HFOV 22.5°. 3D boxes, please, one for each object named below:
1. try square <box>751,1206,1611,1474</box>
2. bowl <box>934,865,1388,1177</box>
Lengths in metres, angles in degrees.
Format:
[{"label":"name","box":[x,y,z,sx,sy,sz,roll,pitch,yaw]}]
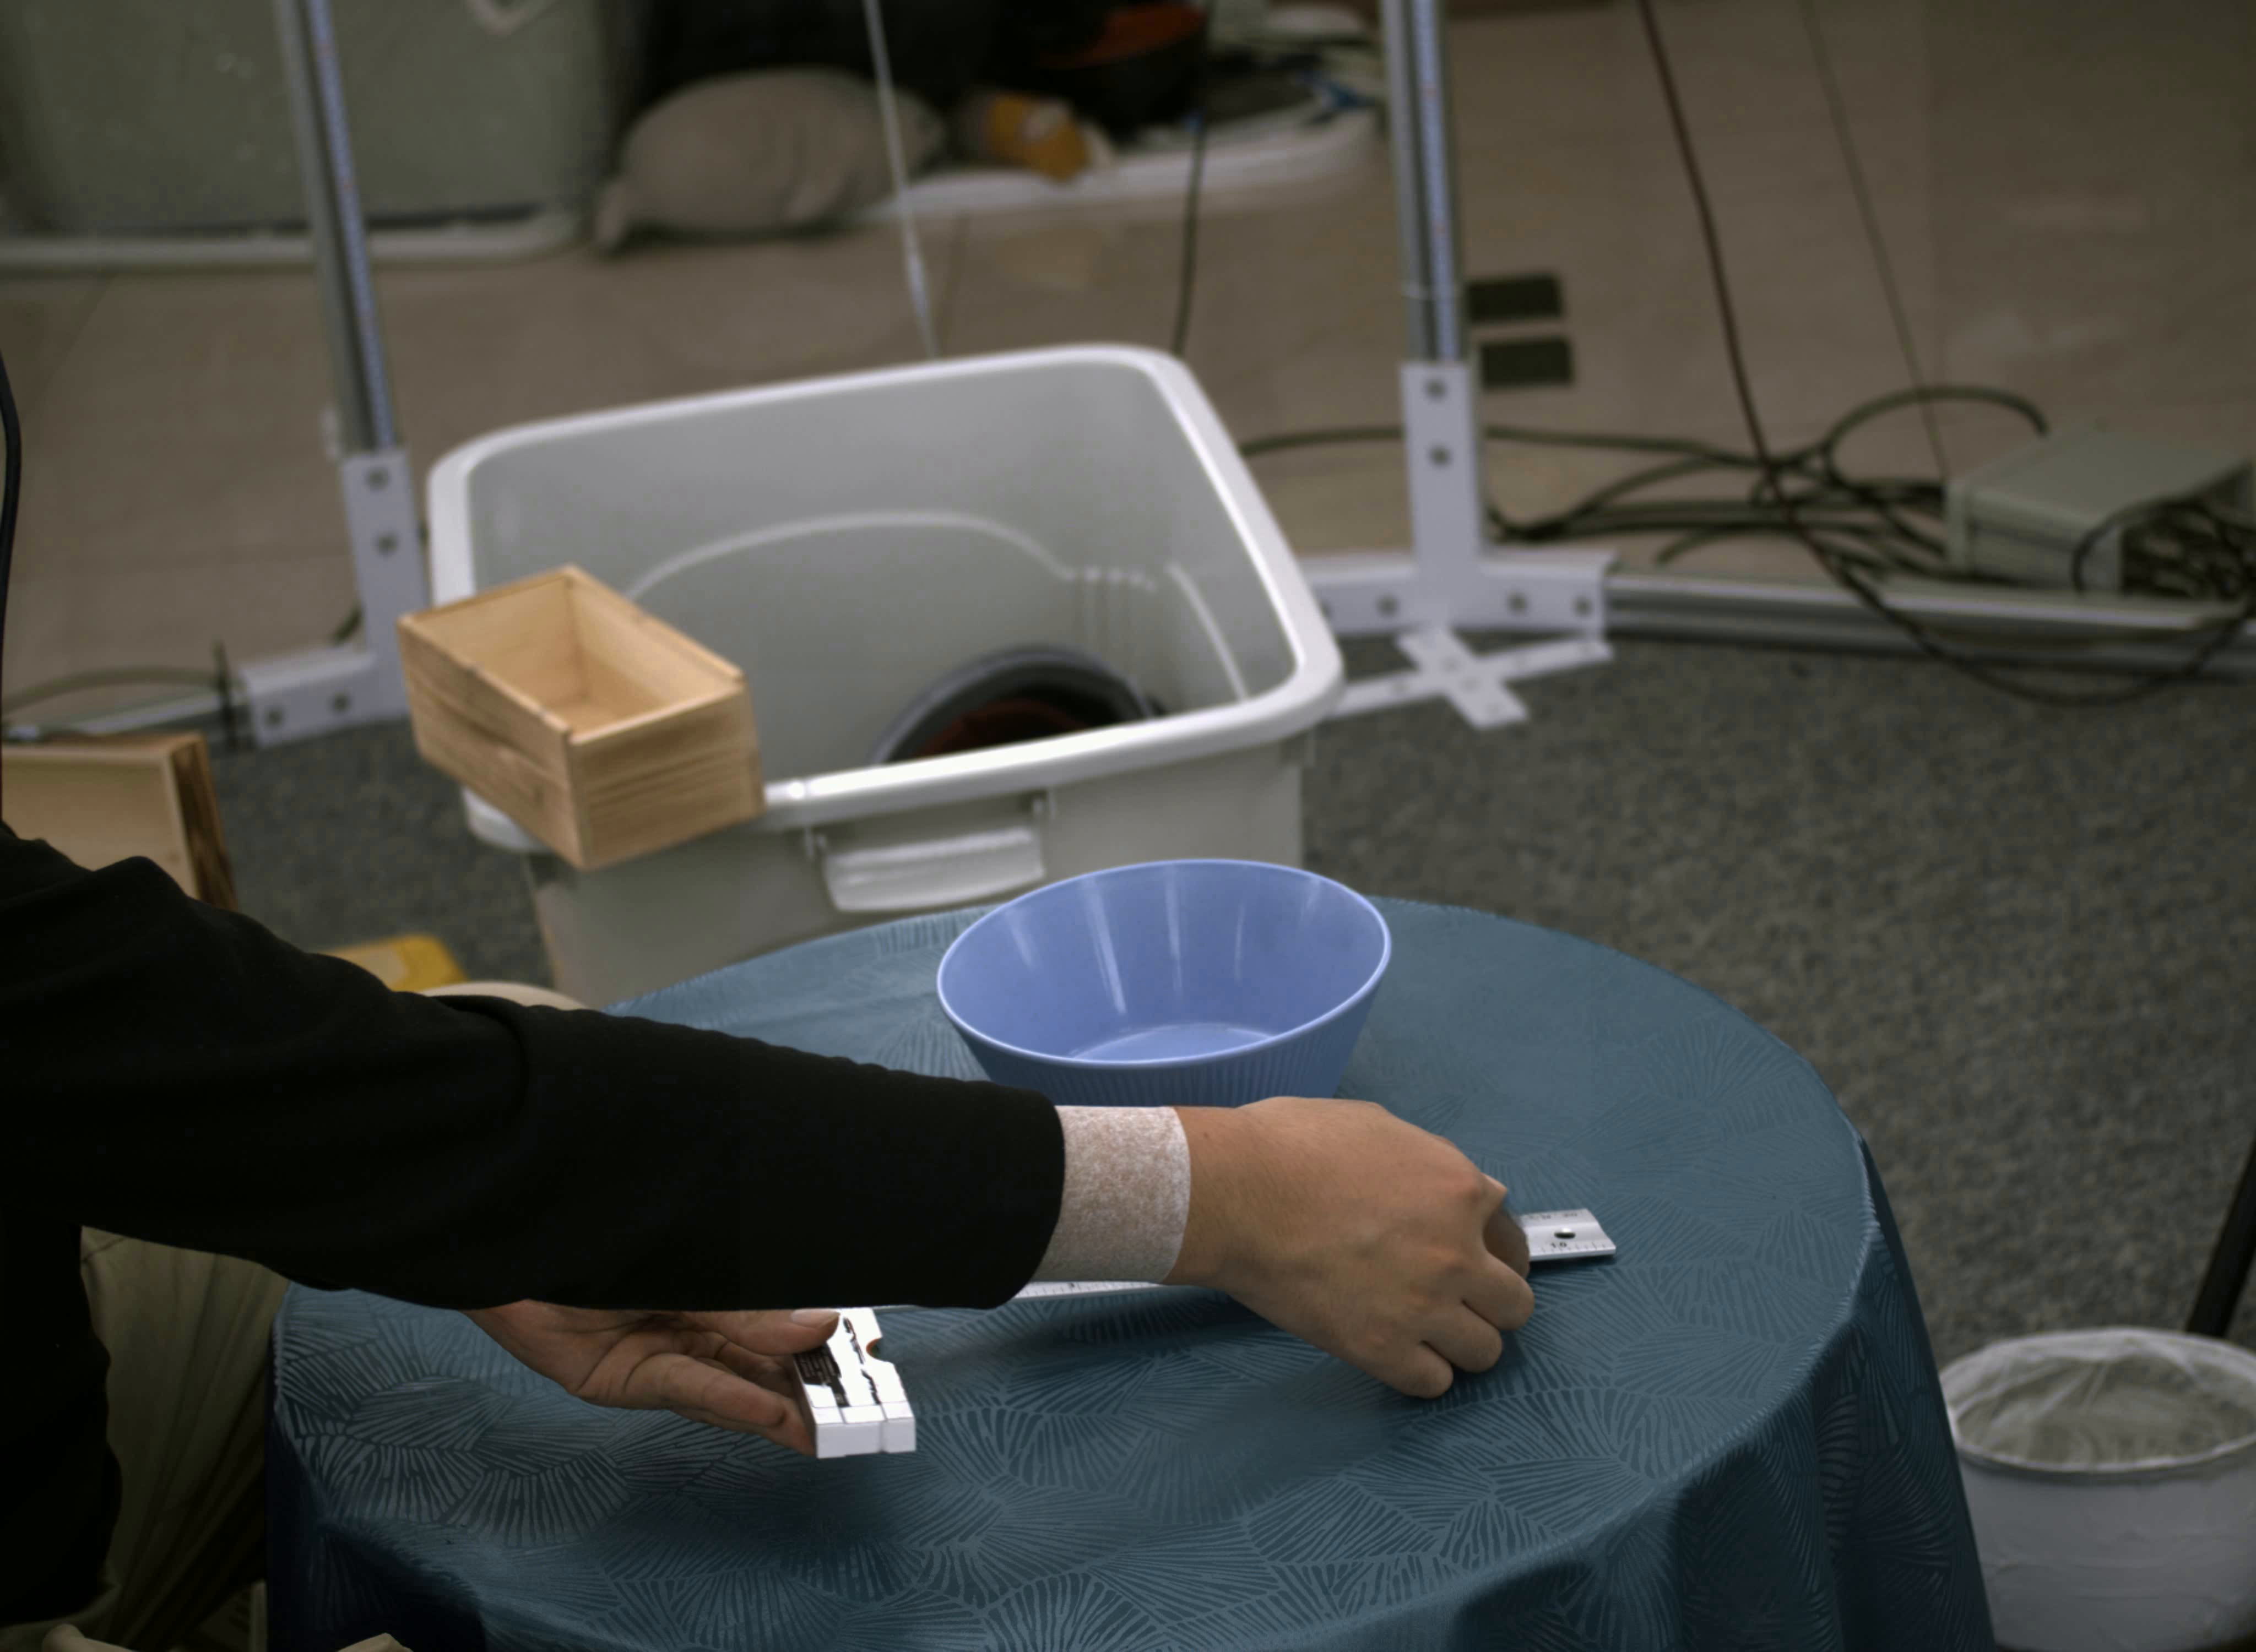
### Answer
[{"label":"try square","box":[0.029,0.177,2.003,0.312,0.016,0.150,-4,21,-10]},{"label":"bowl","box":[0.015,0.080,2.187,0.176,0.071,0.173,-5,25,2]}]
